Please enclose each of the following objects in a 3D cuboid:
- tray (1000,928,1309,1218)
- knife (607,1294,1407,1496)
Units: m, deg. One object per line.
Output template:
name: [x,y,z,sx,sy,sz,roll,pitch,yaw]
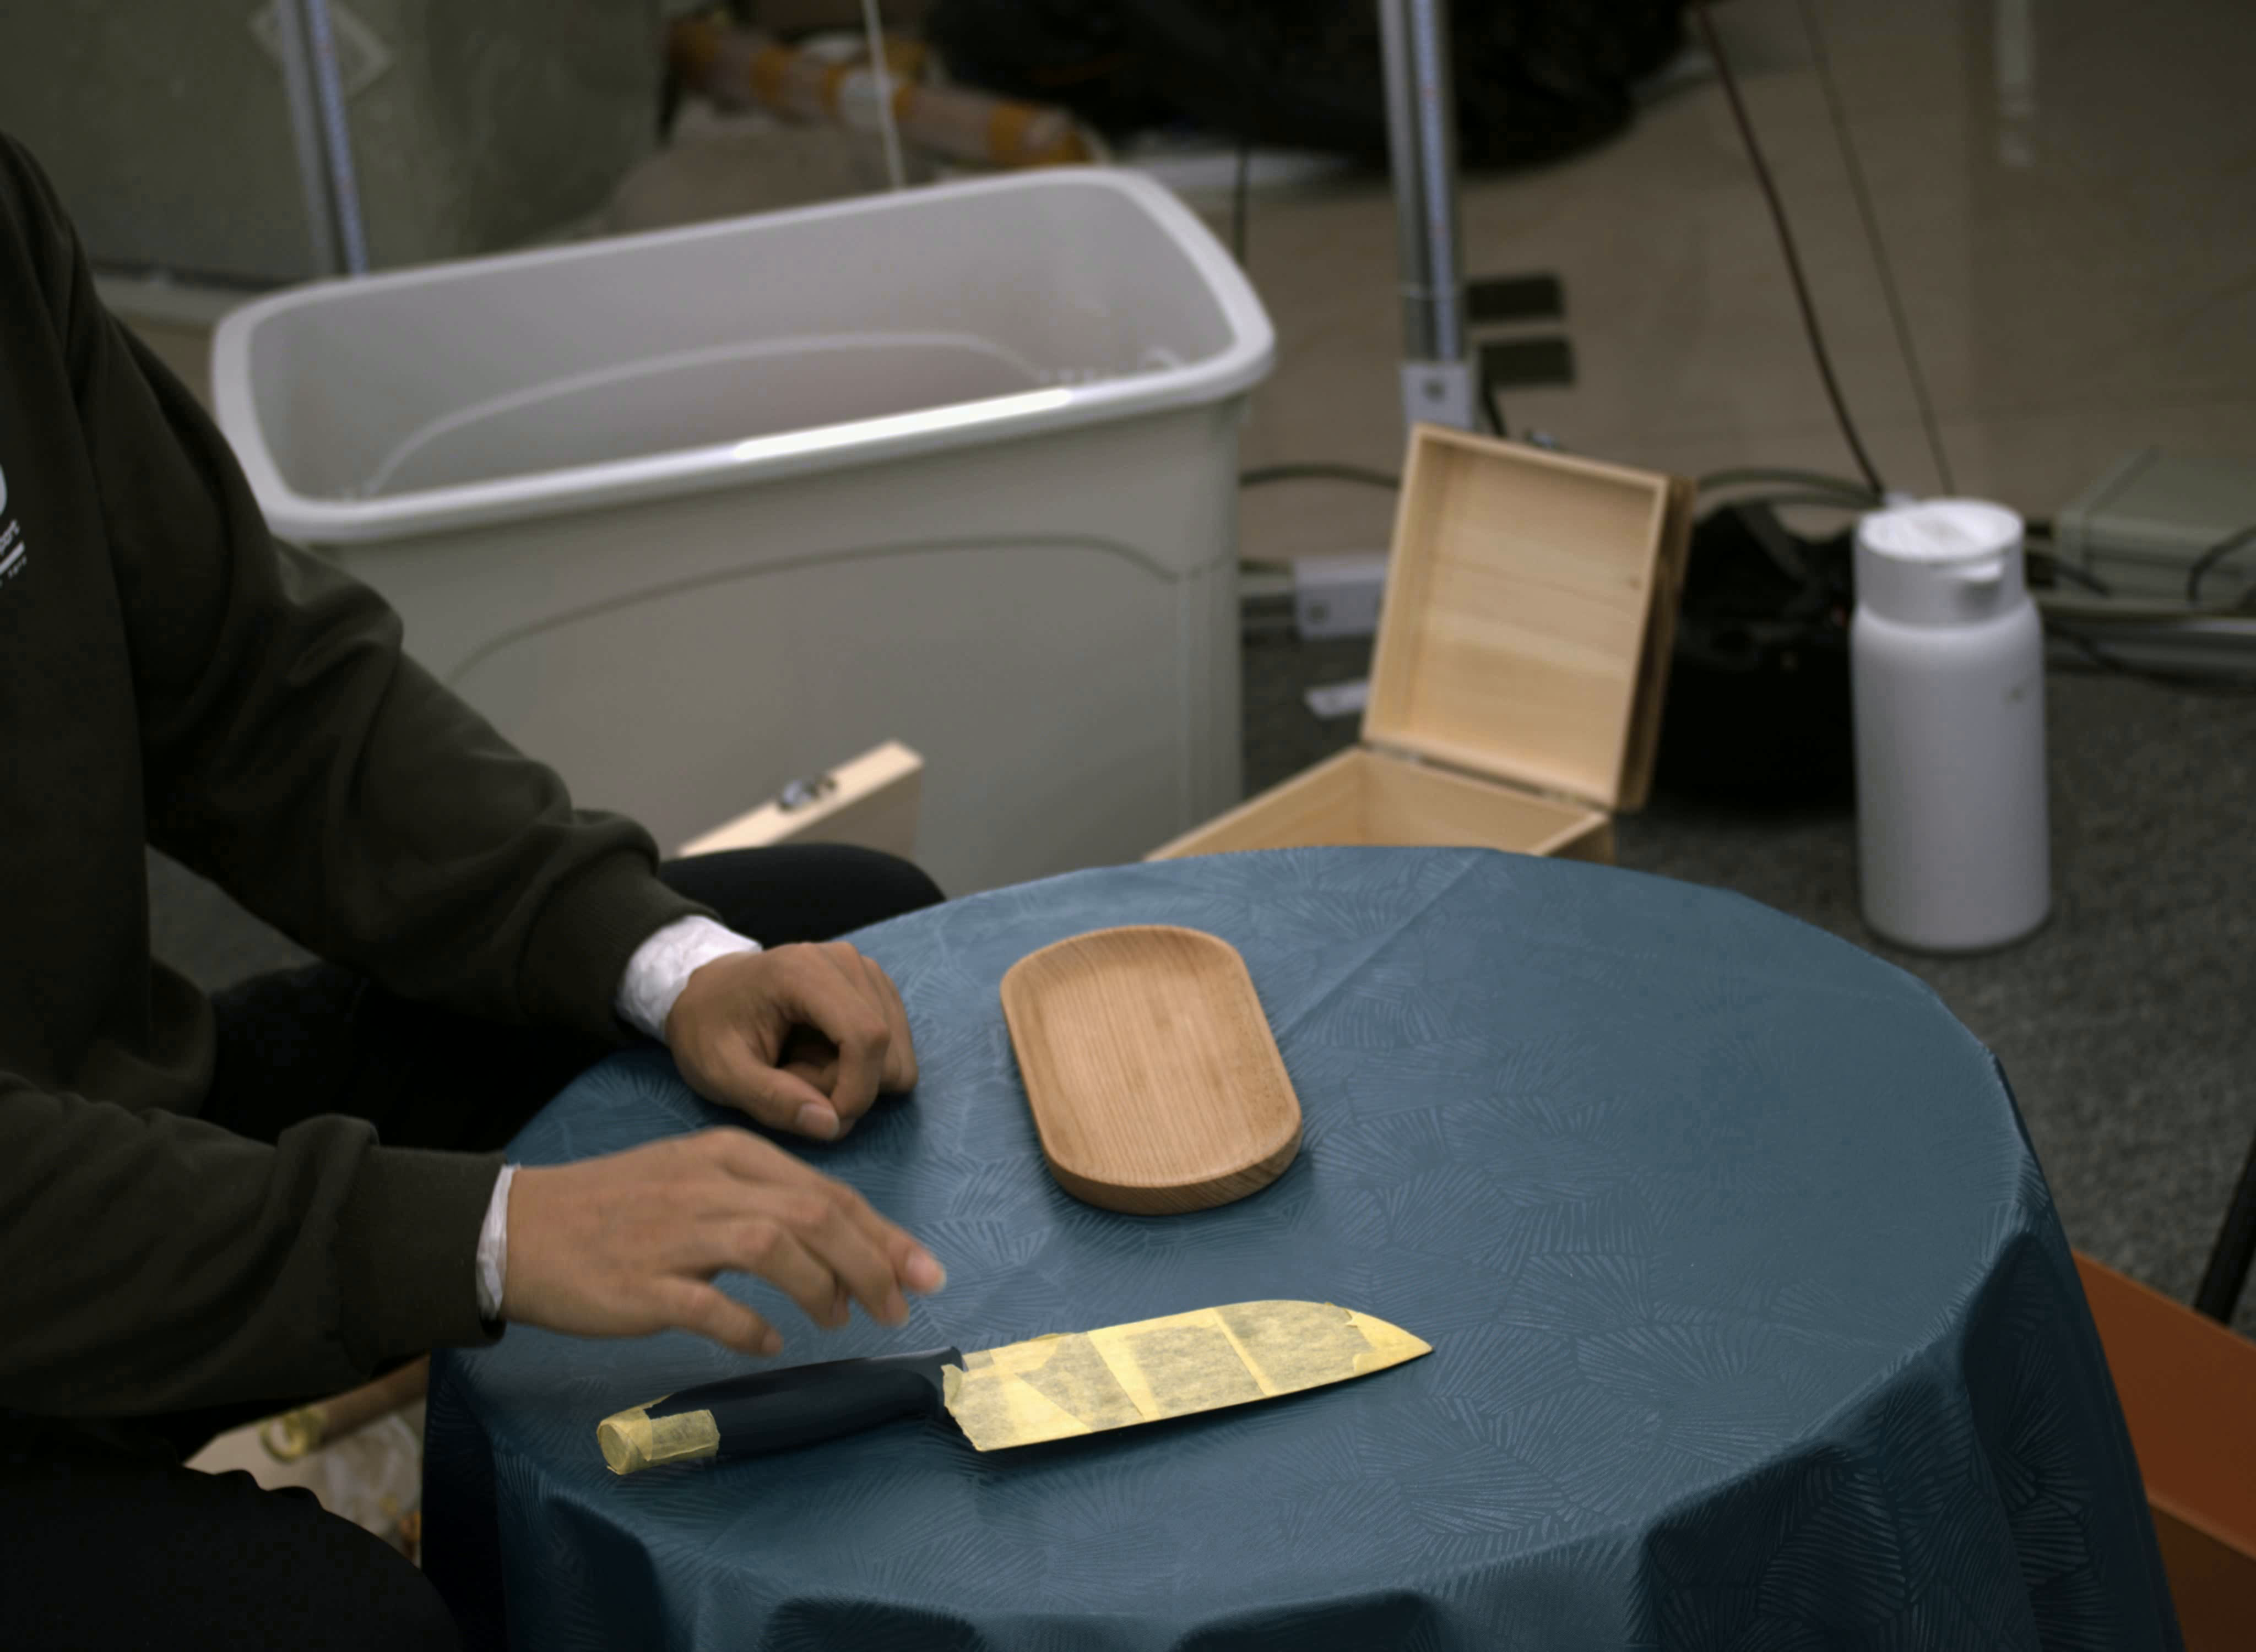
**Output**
tray: [0.009,0.095,2.225,0.101,0.020,0.228,-11,26,-5]
knife: [-0.040,0.202,2.007,0.289,0.027,0.080,-10,21,-11]
